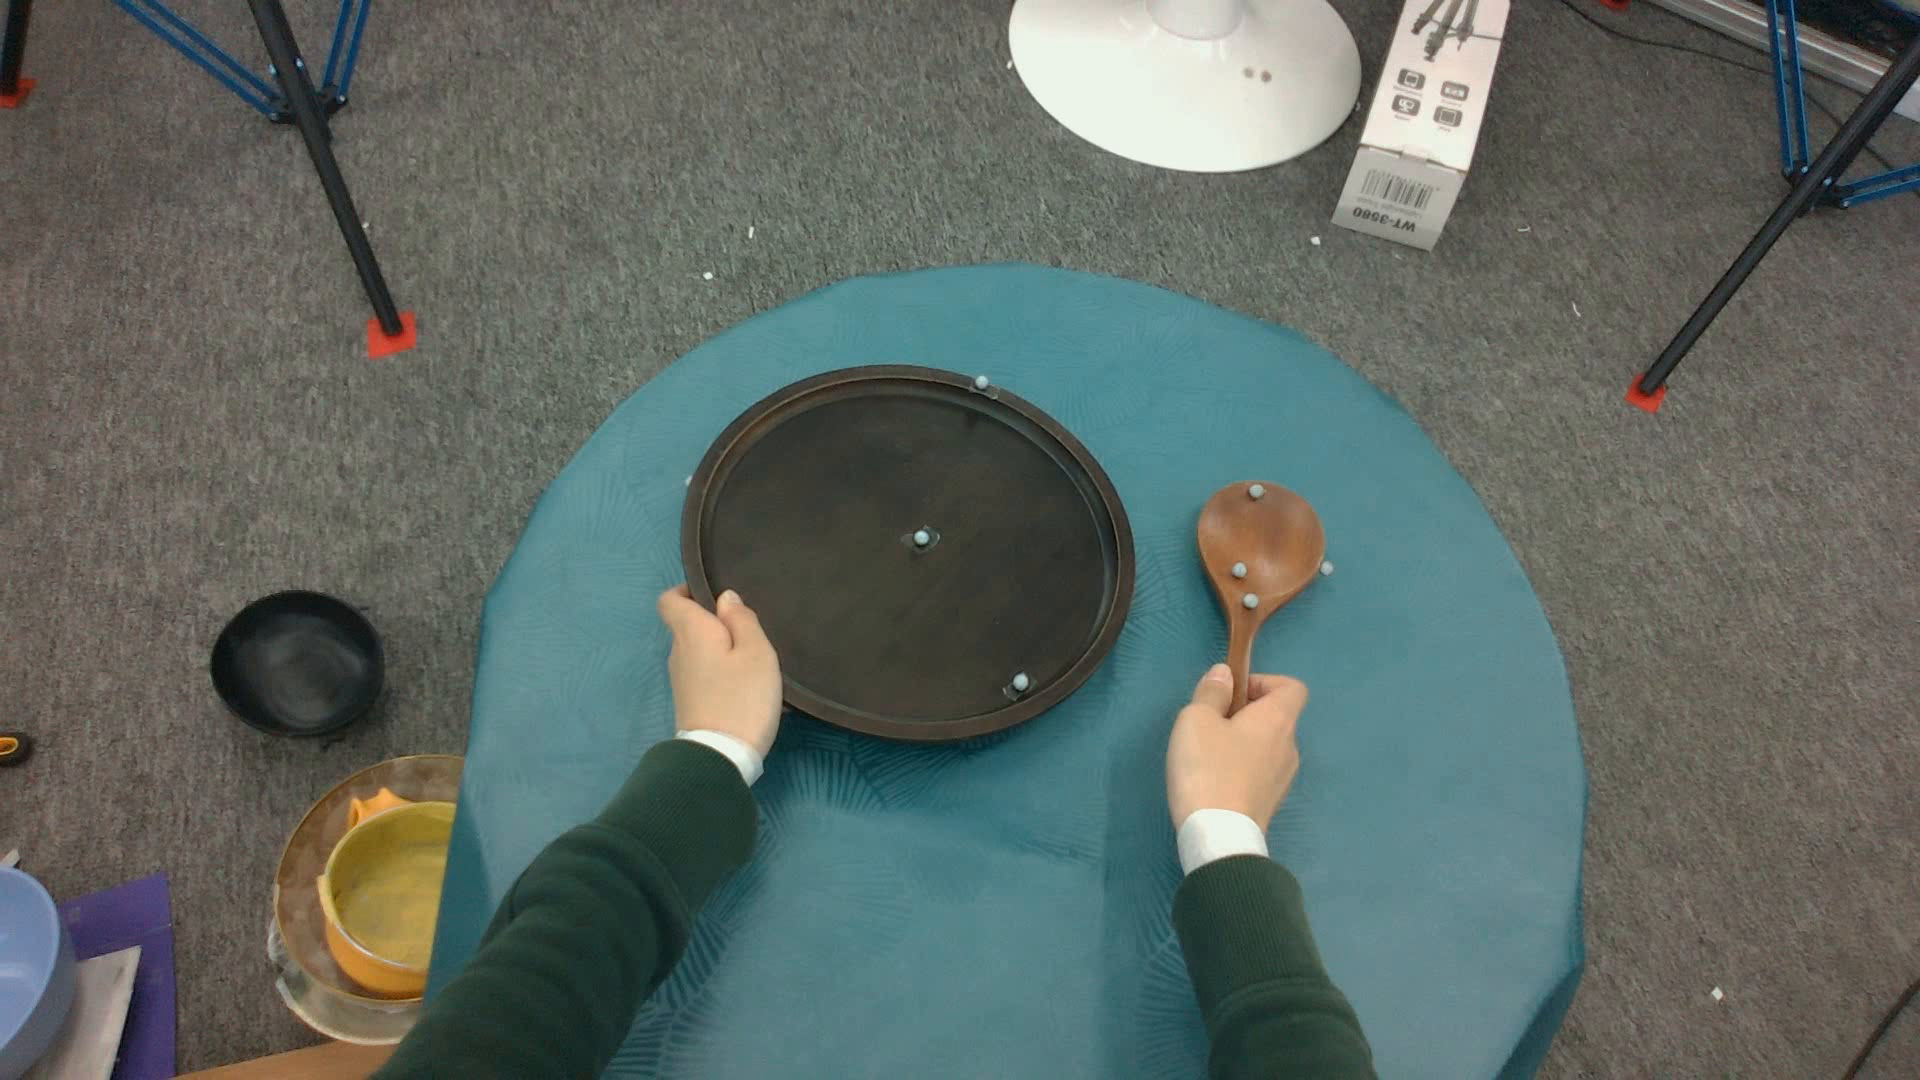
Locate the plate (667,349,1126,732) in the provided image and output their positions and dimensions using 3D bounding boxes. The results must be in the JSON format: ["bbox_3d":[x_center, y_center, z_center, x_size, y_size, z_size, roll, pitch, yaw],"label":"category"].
[{"bbox_3d":[-0.033,-0.006,0.764,0.255,0.029,0.256,5,53,-7],"label":"plate"}]

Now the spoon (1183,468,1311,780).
[{"bbox_3d":[0.150,0.040,0.755,0.075,0.017,0.217,15,49,5],"label":"spoon"}]
